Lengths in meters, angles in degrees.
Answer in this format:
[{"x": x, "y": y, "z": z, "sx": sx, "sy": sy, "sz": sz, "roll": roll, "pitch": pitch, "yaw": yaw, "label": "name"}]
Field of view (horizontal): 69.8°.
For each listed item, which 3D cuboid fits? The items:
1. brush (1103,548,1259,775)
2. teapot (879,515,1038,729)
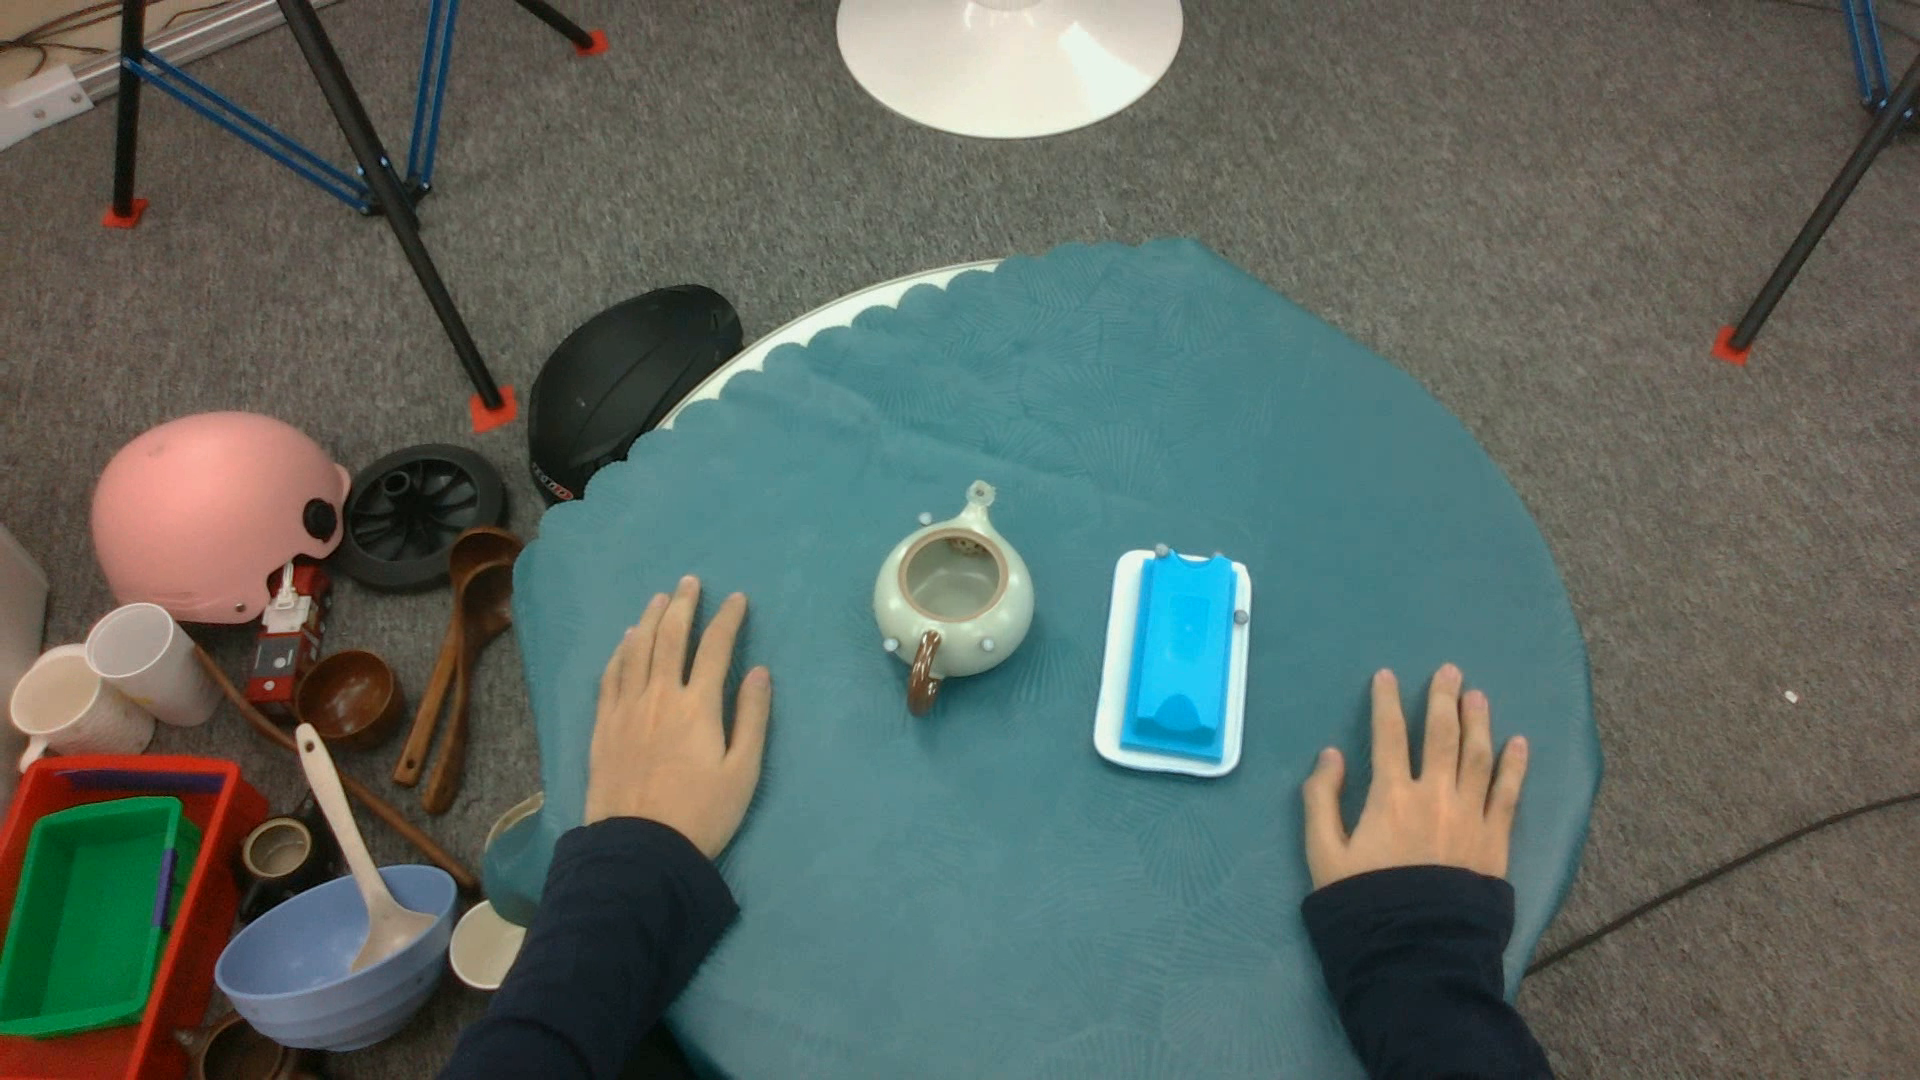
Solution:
[{"x": 0.126, "y": 0.060, "z": 0.772, "sx": 0.084, "sy": 0.055, "sz": 0.144, "roll": 2, "pitch": 50, "yaw": 12, "label": "brush"}, {"x": -0.003, "y": 0.049, "z": 0.791, "sx": 0.092, "sy": 0.059, "sz": 0.128, "roll": 12, "pitch": 56, "yaw": 7, "label": "teapot"}]
